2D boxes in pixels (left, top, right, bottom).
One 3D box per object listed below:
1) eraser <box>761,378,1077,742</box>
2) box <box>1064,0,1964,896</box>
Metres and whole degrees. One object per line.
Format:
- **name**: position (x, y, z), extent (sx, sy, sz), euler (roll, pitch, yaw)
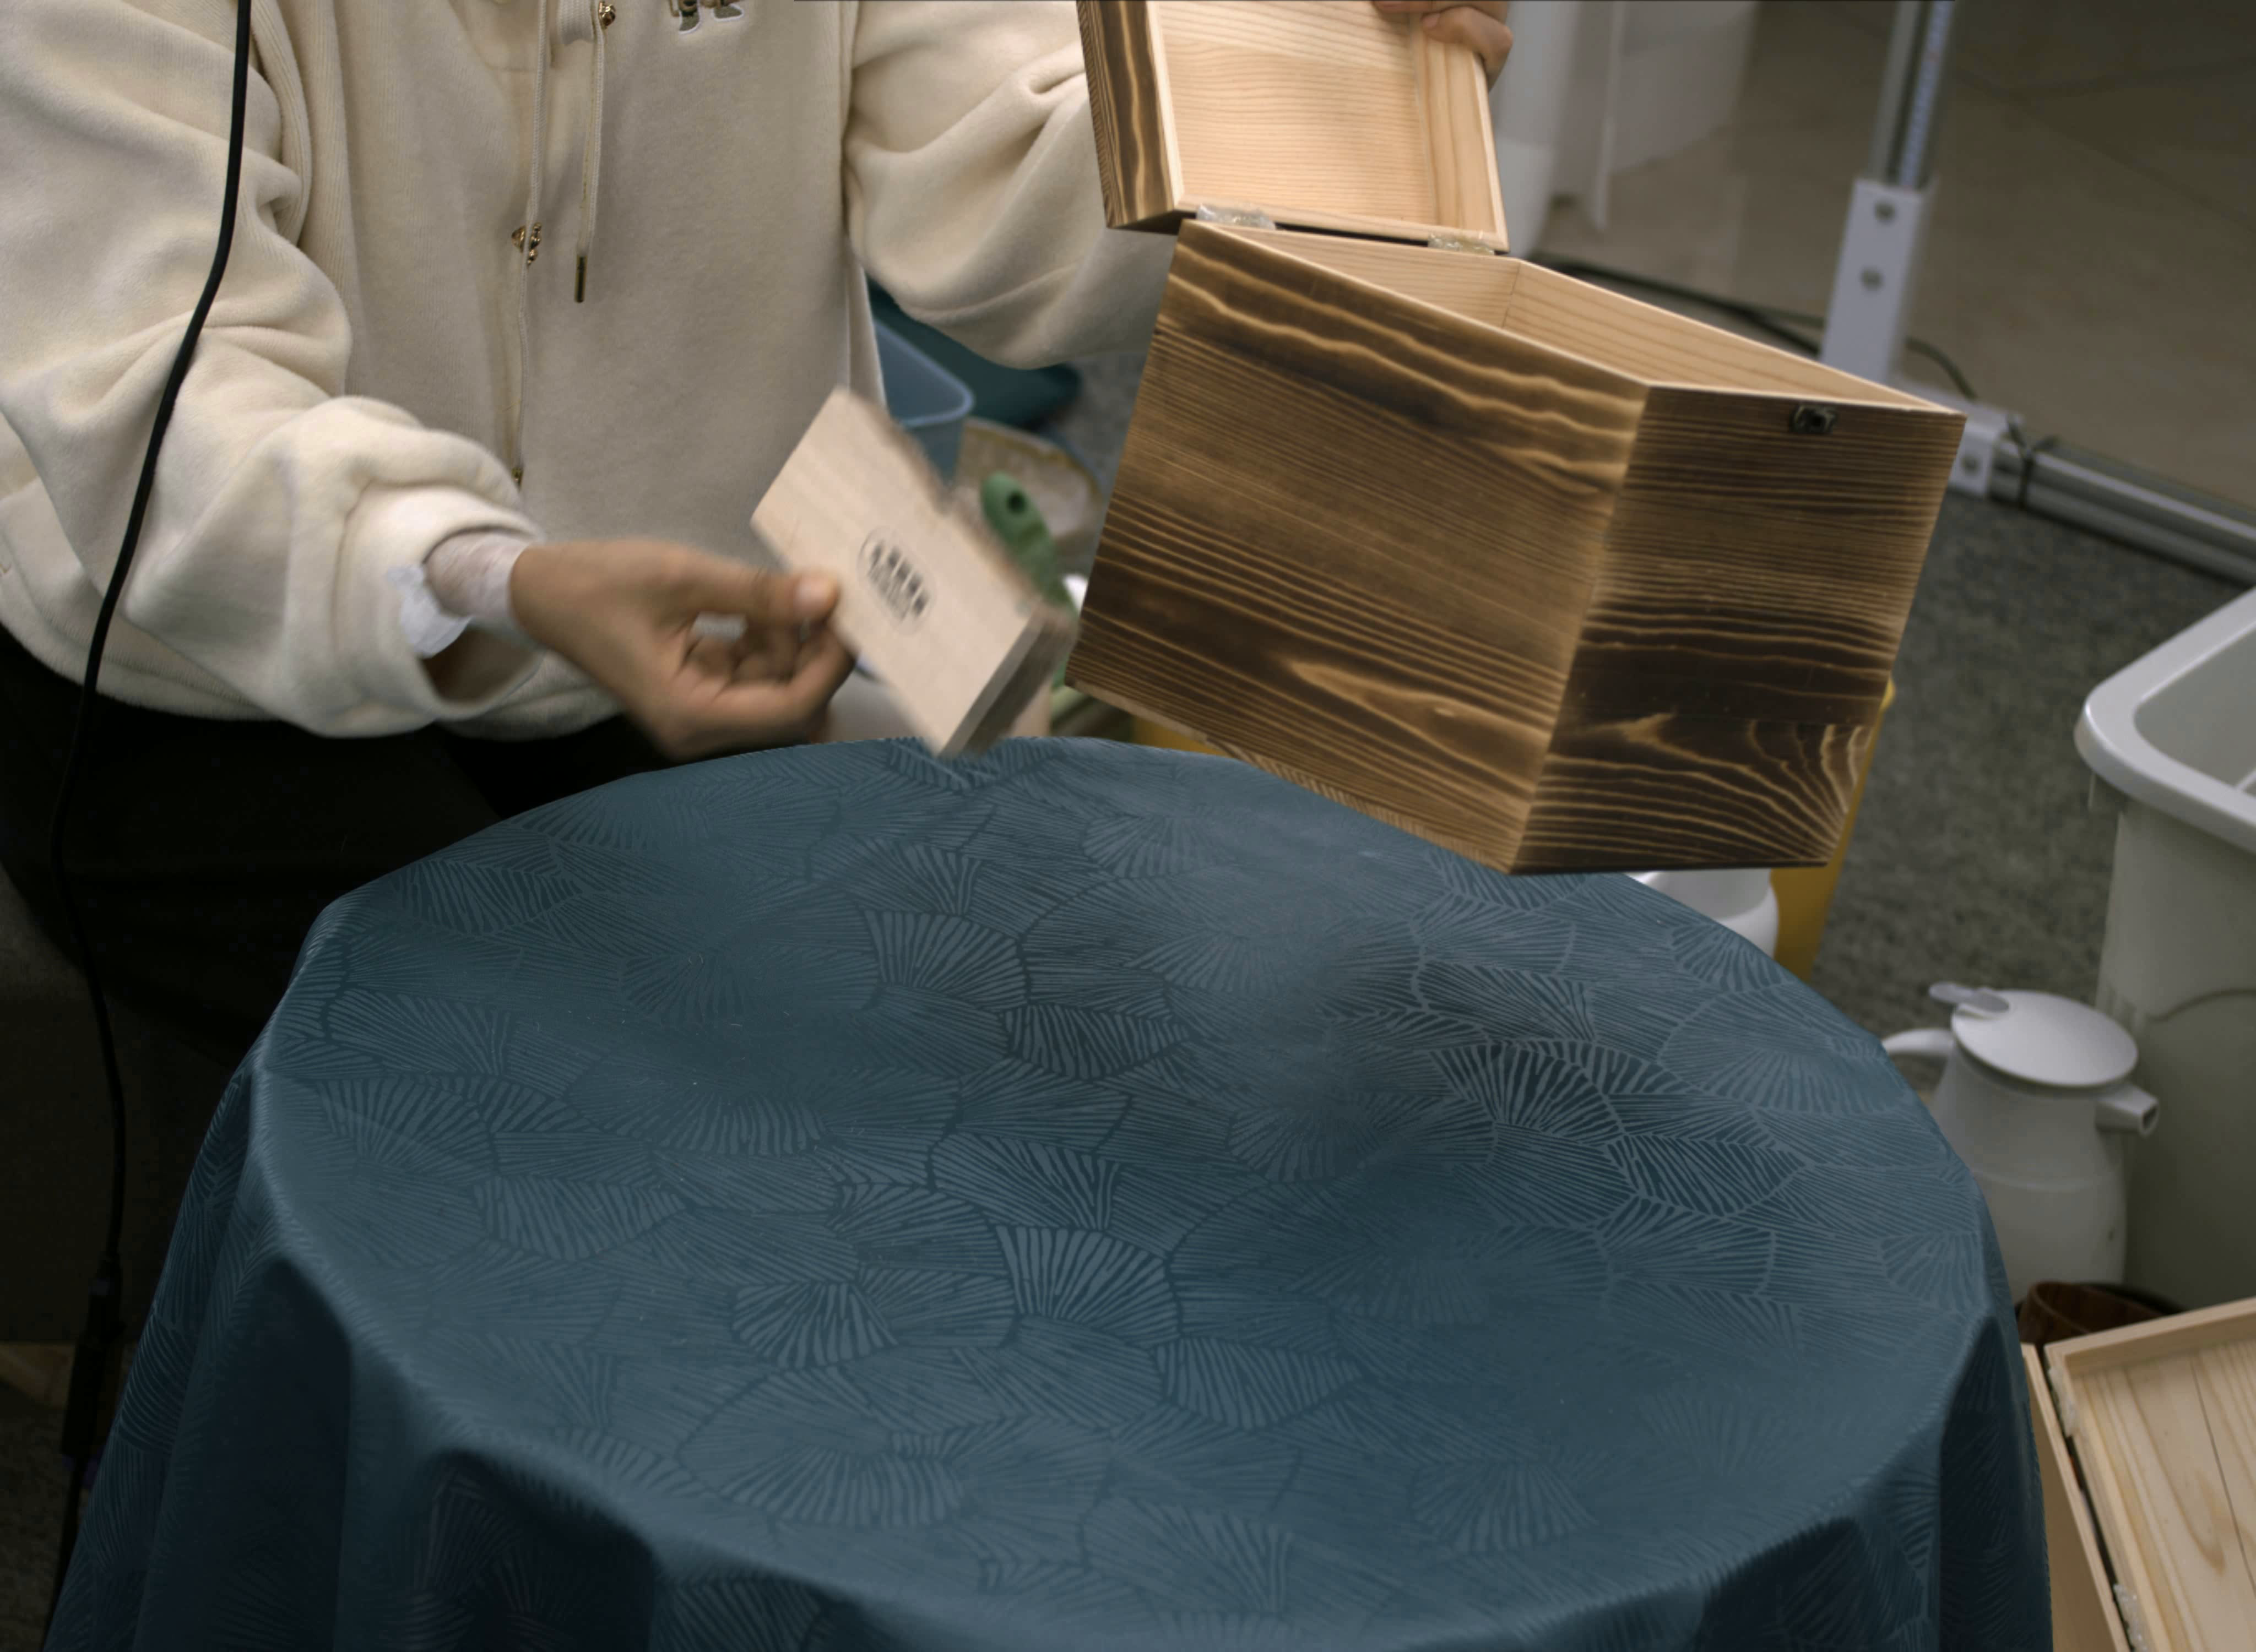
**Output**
- **eraser**: position (-0.071, -0.088, 1.793), extent (0.029, 0.057, 0.140), euler (17, 25, -43)
- **box**: position (0.119, -0.205, 1.856), extent (0.324, 0.375, 0.207), euler (24, 16, 36)
